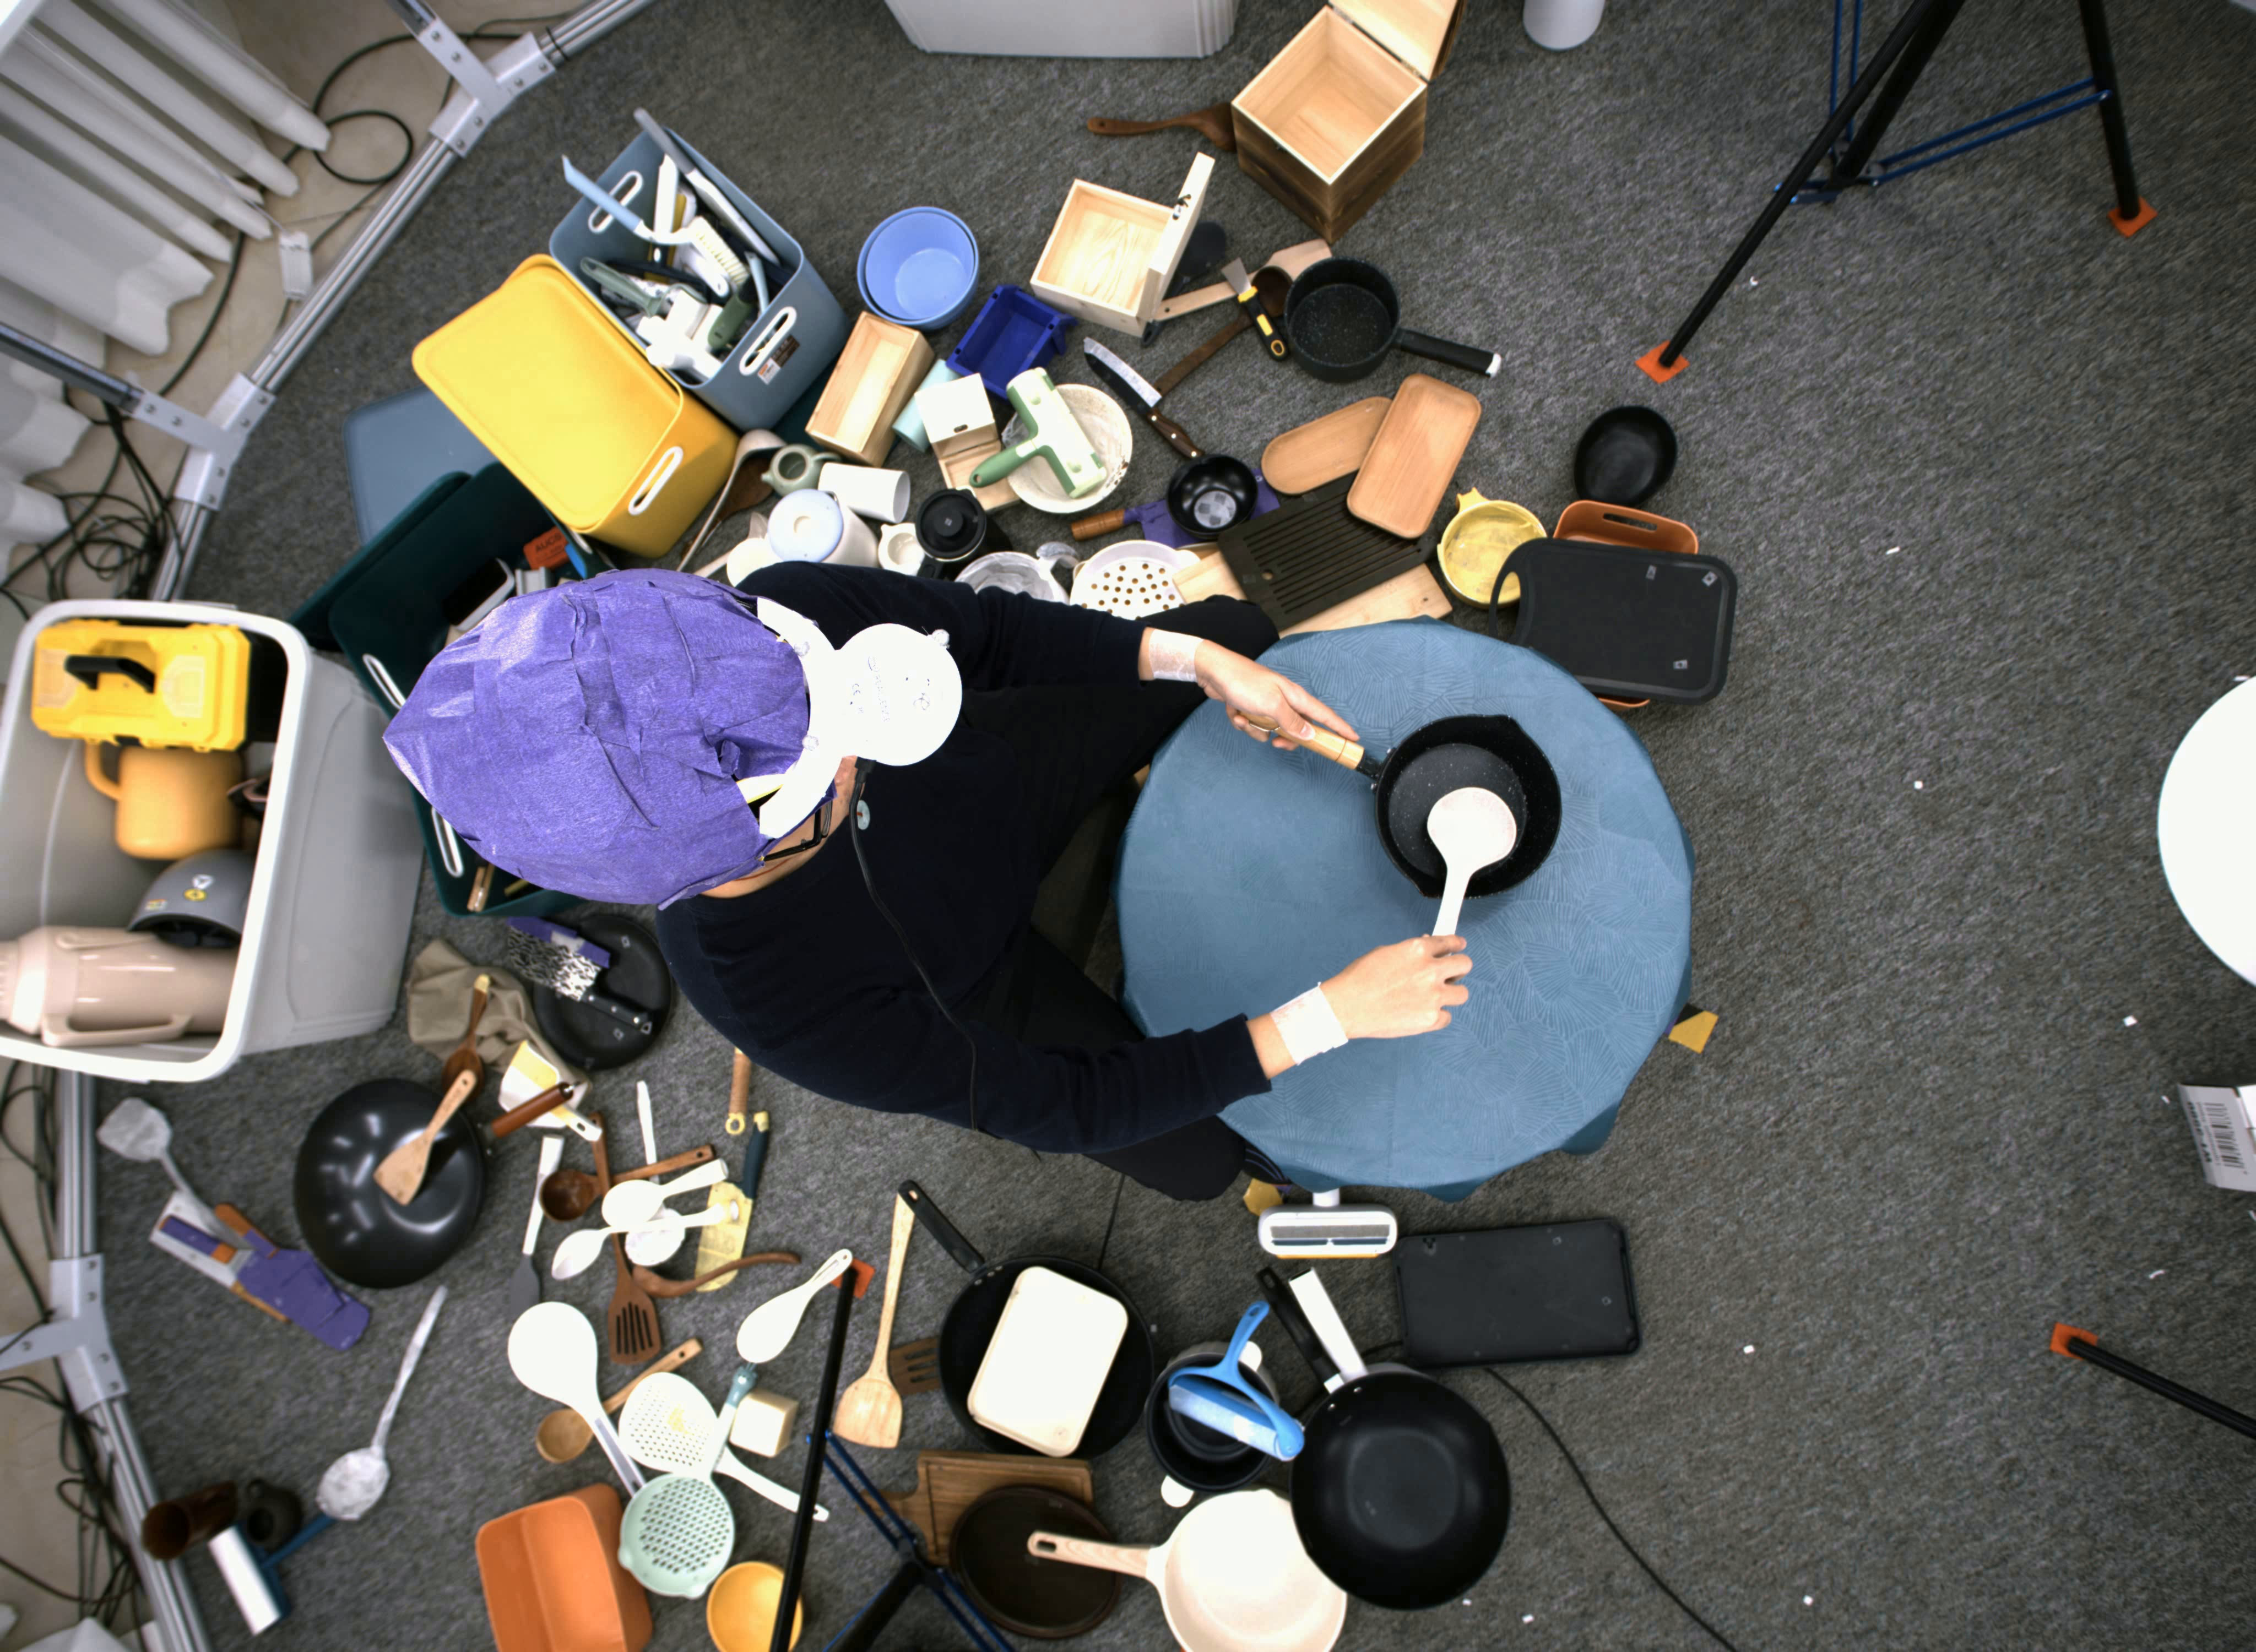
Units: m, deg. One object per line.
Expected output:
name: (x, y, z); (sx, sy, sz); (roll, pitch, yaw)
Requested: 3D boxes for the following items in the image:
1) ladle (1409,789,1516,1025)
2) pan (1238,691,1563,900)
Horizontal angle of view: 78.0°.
ladle: (0.313, 0.070, 1.322); (0.089, 0.071, 0.267); (22, 46, 7)
pan: (0.268, -0.051, 1.401); (0.343, 0.108, 0.208); (24, 92, 5)
